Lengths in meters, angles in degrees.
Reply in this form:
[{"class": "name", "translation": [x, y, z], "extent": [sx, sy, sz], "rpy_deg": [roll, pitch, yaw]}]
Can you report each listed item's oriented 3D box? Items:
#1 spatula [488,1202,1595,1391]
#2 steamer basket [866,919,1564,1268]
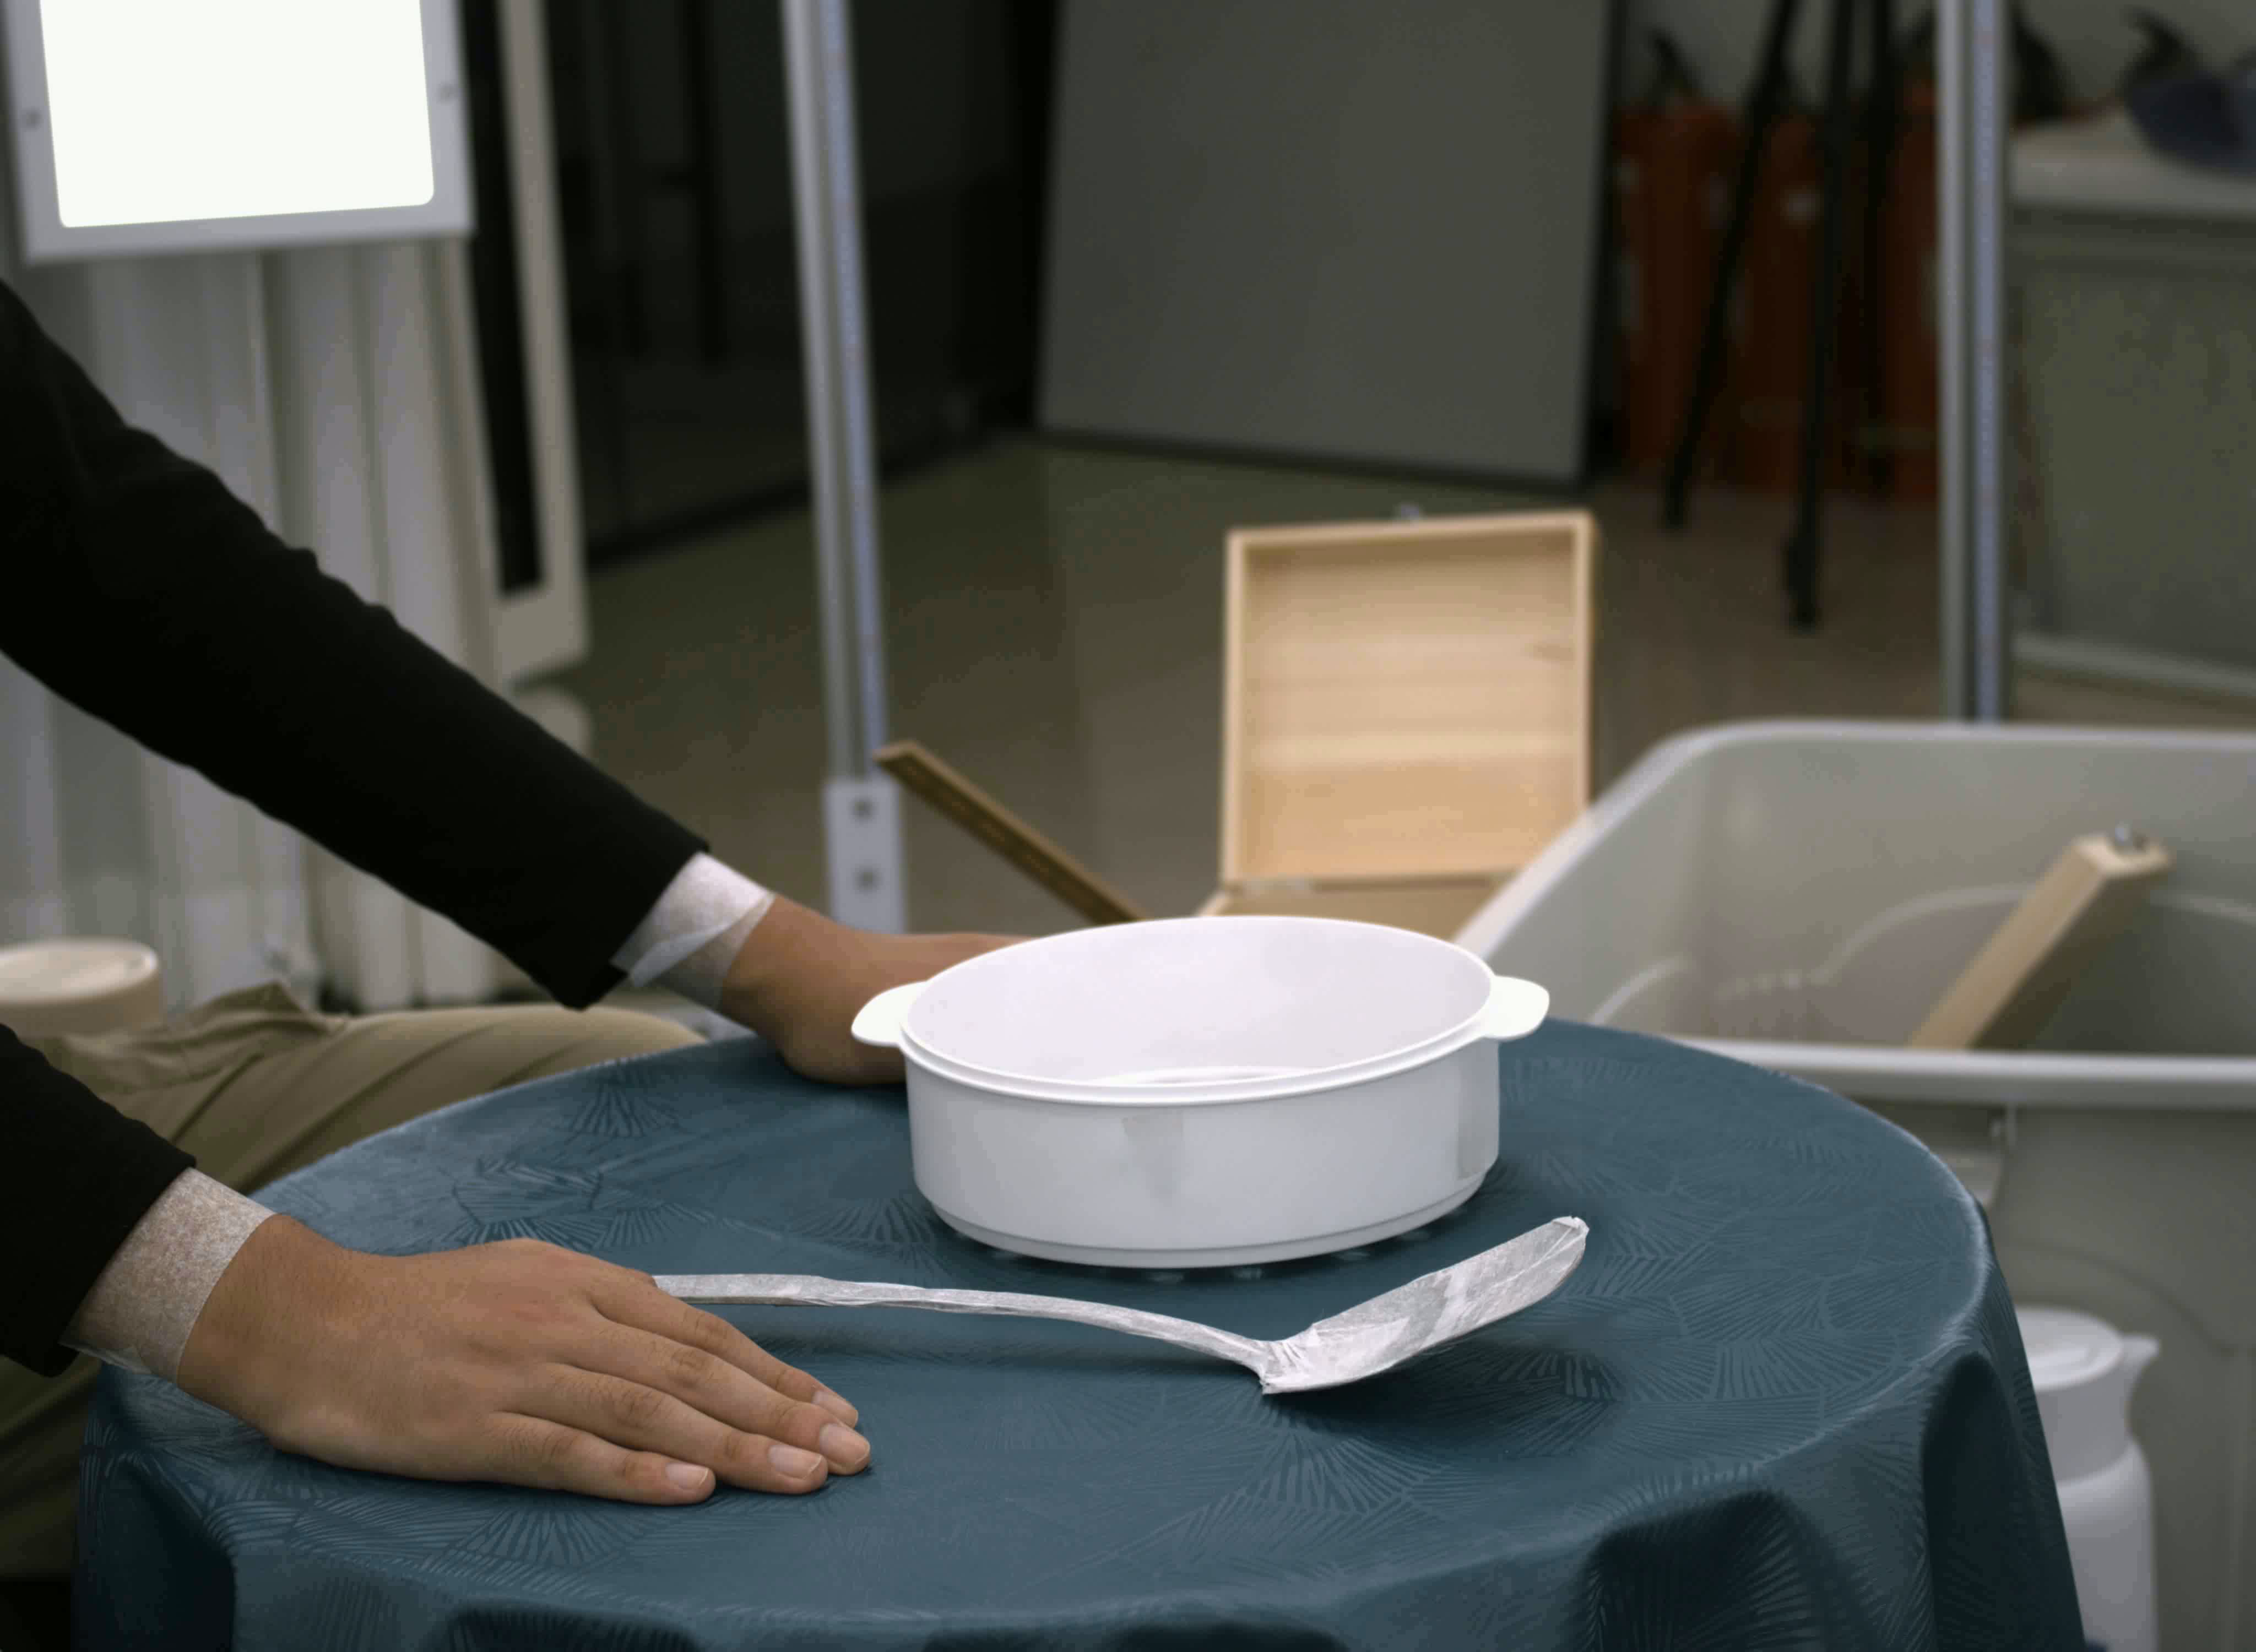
[{"class": "spatula", "translation": [-0.037, 0.140, 1.624], "extent": [0.364, 0.045, 0.098], "rpy_deg": [1, 16, 21]}, {"class": "steamer basket", "translation": [0.030, 0.086, 1.756], "extent": [0.229, 0.070, 0.201], "rpy_deg": [-2, 13, 13]}]
